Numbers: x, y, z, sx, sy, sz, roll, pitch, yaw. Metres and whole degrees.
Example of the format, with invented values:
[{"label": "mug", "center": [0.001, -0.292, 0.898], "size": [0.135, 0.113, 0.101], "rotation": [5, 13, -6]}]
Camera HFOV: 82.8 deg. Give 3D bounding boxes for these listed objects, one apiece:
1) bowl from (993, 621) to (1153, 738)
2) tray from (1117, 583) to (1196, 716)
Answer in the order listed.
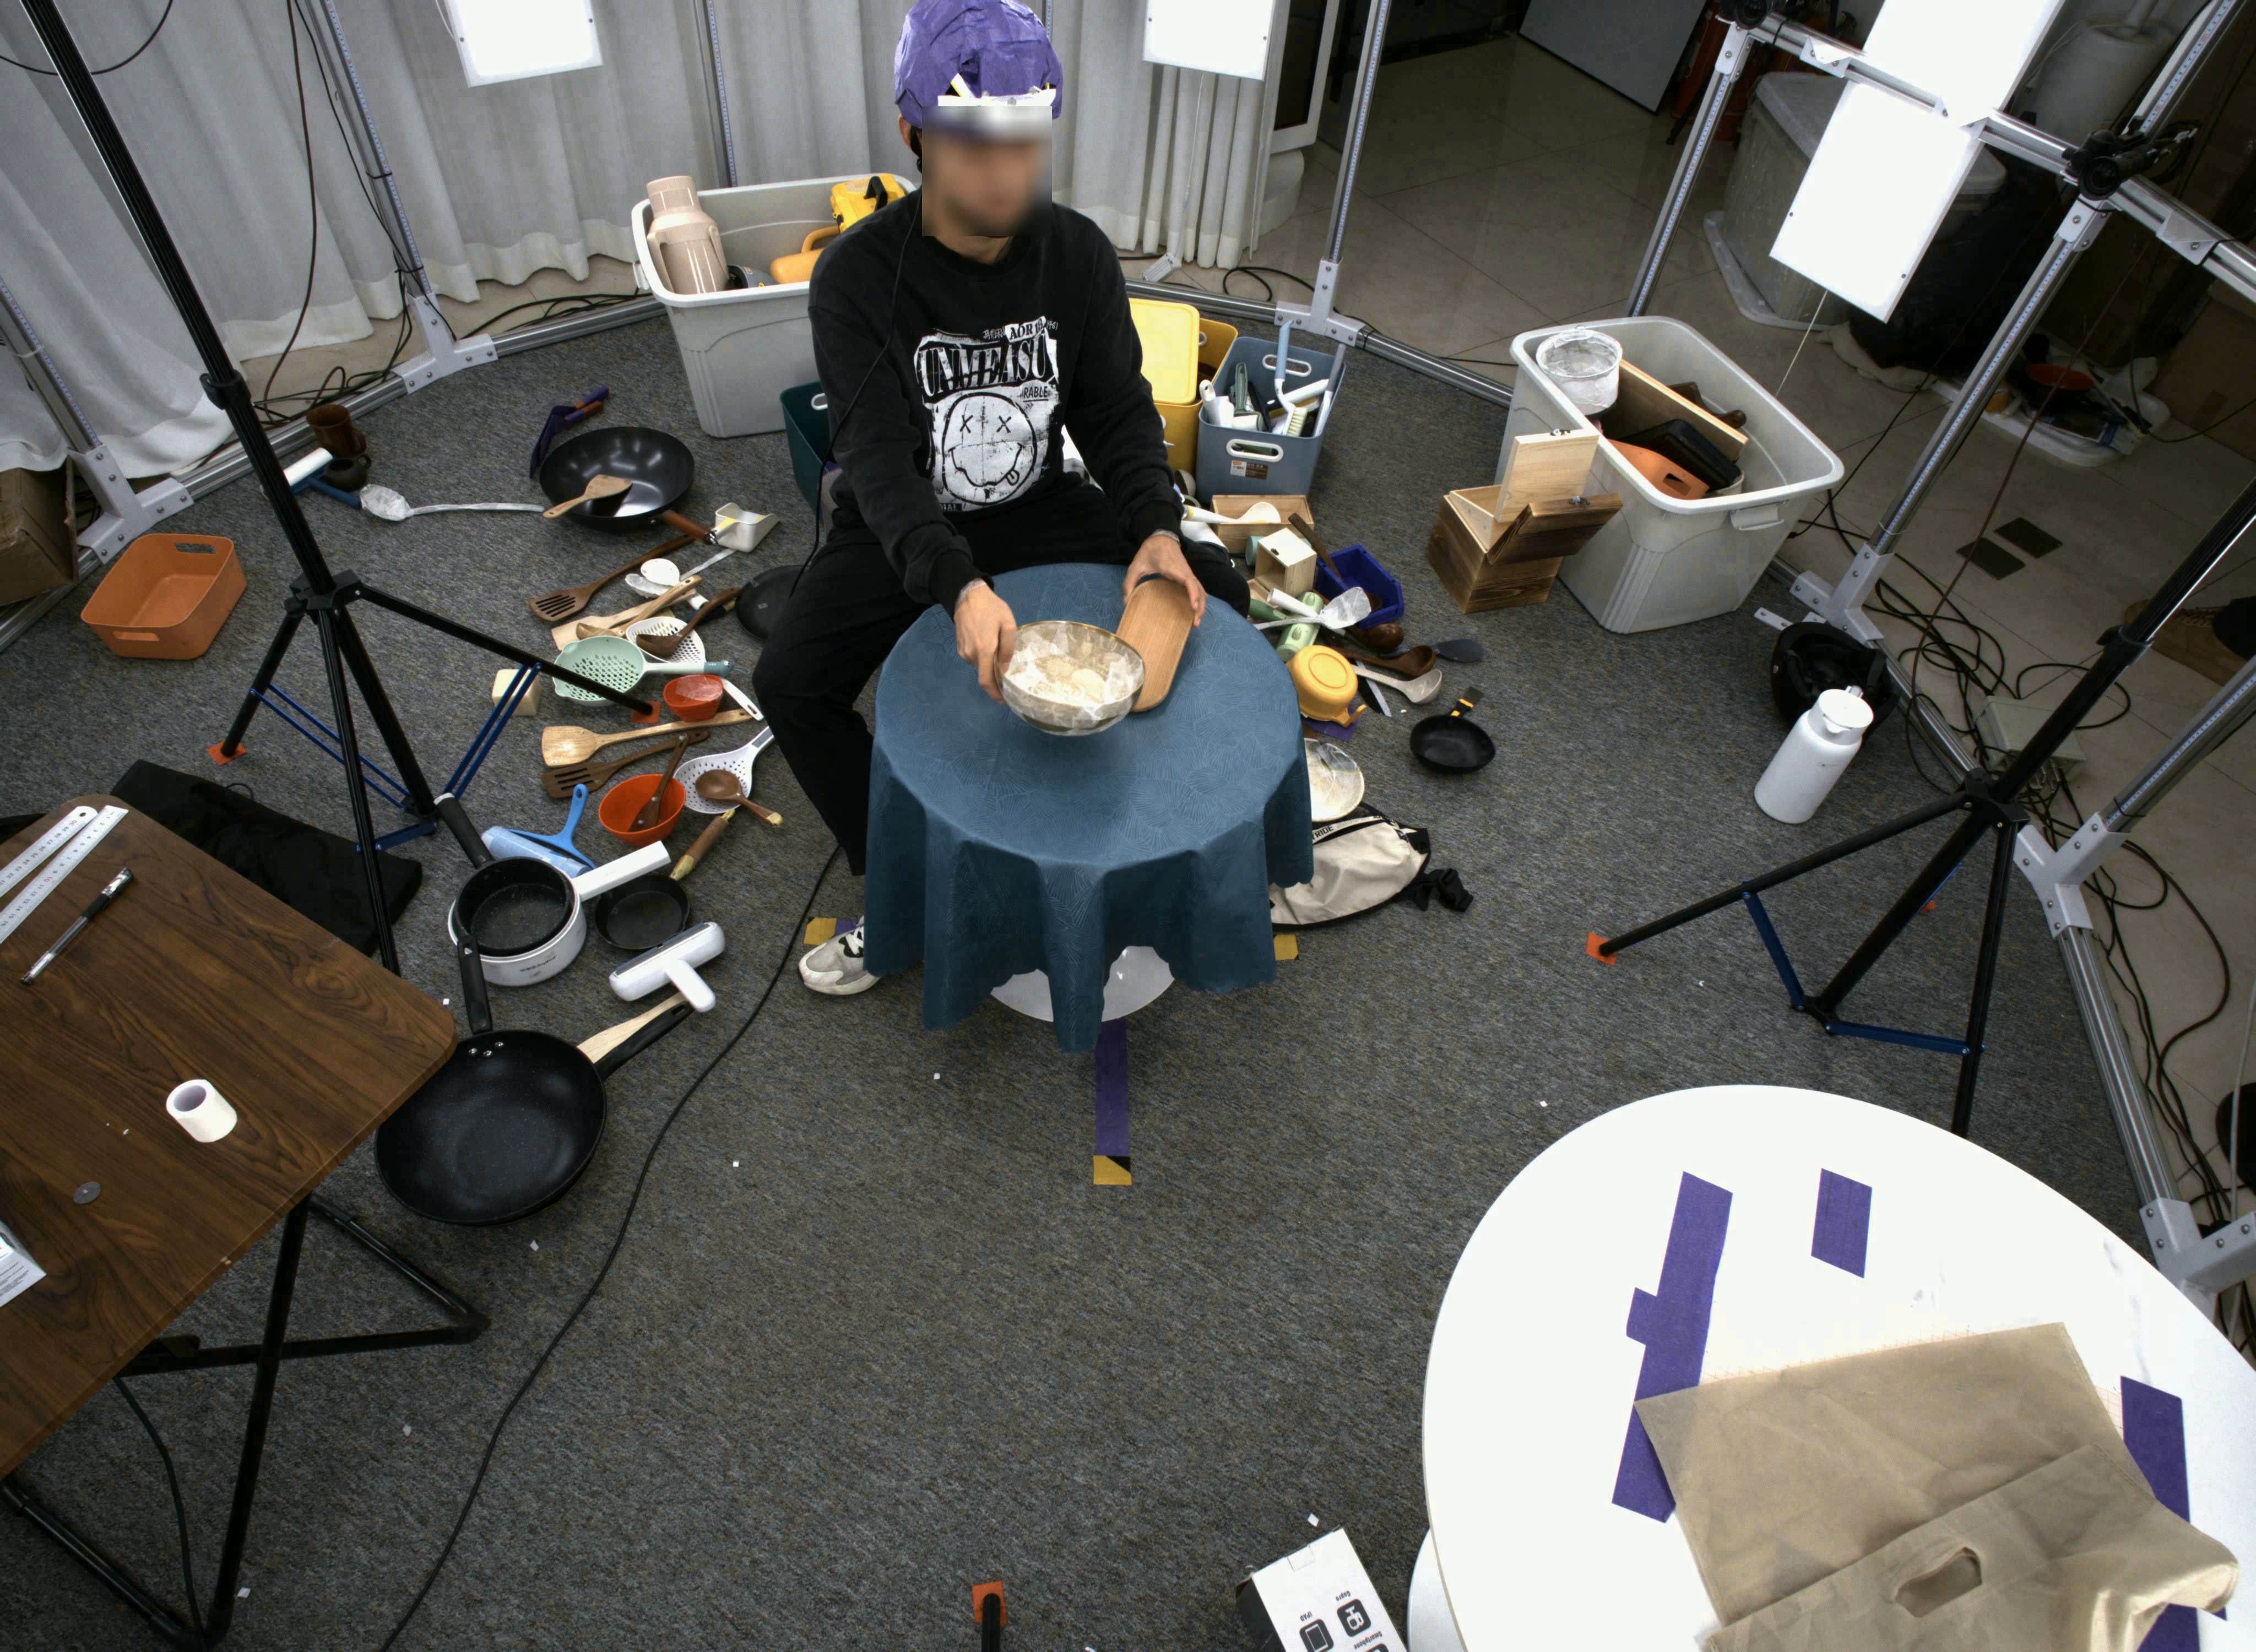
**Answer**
[{"label": "bowl", "center": [-0.079, -0.183, 1.717], "size": [0.214, 0.092, 0.220], "rotation": [5, 38, -5]}, {"label": "tray", "center": [0.032, -0.258, 1.869], "size": [0.102, 0.020, 0.235], "rotation": [12, 64, 13]}]
